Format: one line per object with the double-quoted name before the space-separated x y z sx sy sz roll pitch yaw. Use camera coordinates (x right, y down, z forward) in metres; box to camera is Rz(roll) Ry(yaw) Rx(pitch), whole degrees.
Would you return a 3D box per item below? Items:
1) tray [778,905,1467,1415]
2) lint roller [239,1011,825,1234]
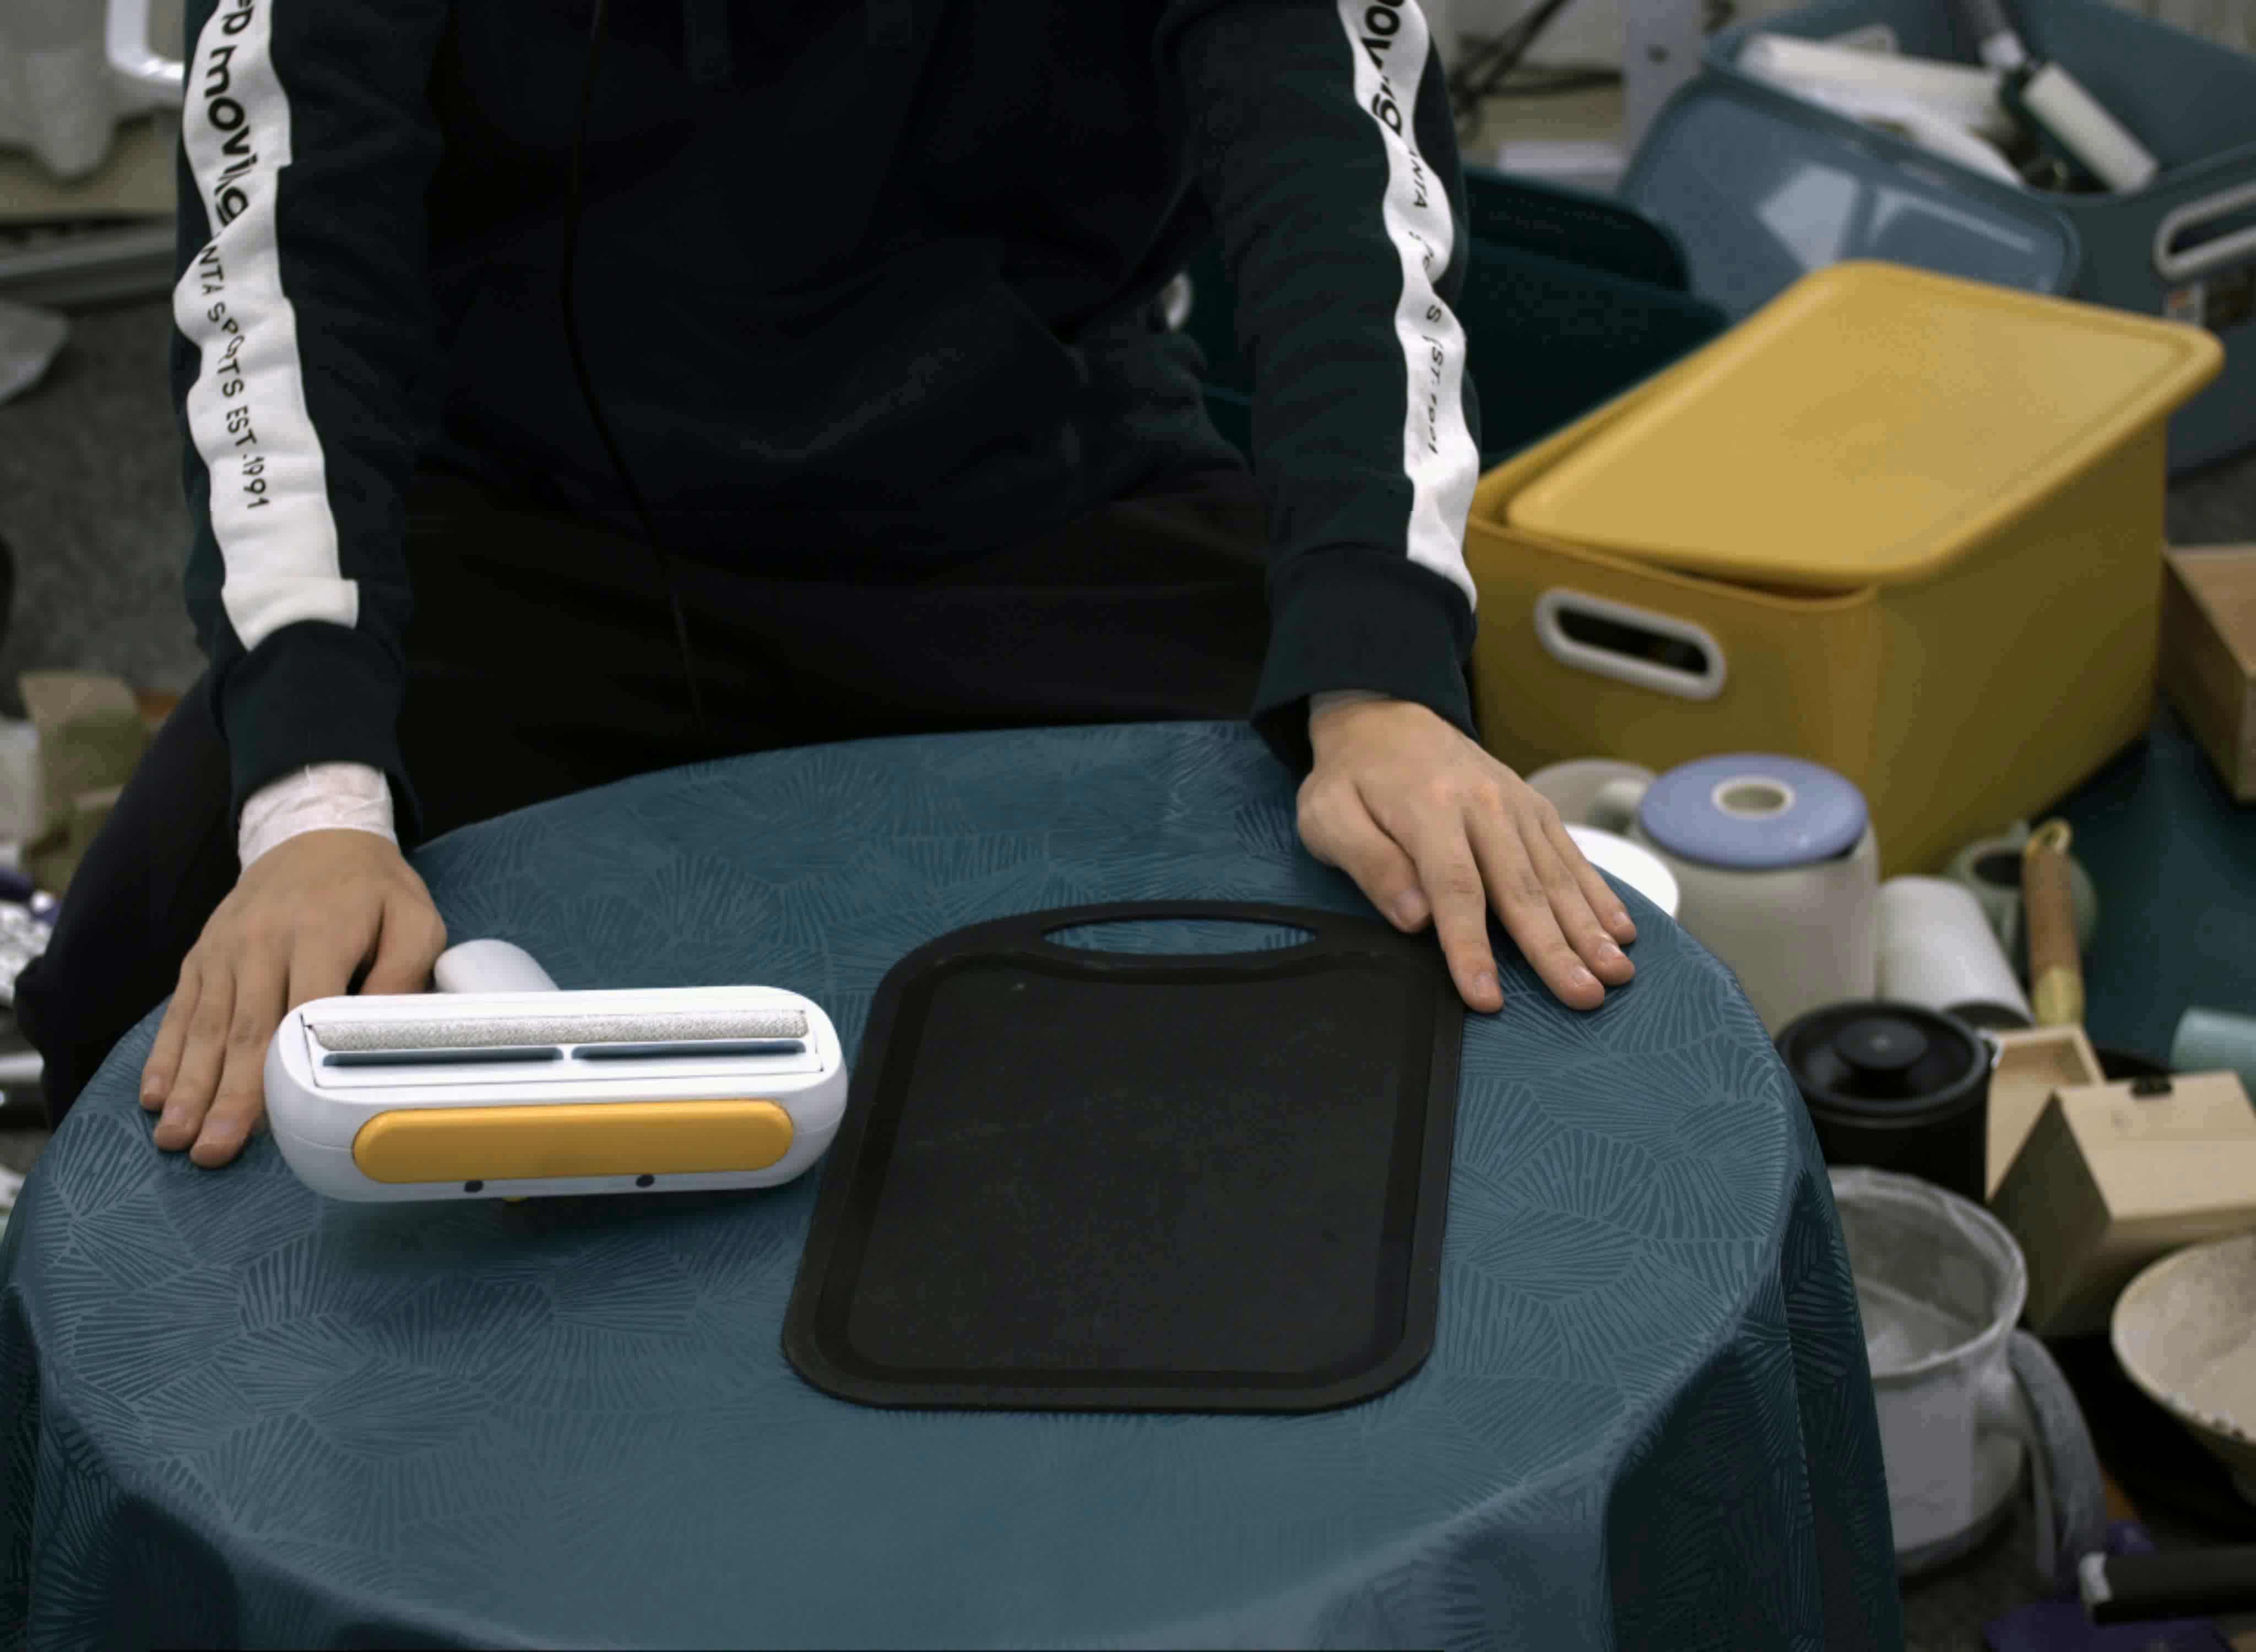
"tray" 0.004 0.104 1.887 0.210 0.009 0.331 1 28 6
"lint roller" -0.206 0.089 1.911 0.192 0.074 0.193 -1 12 -11
